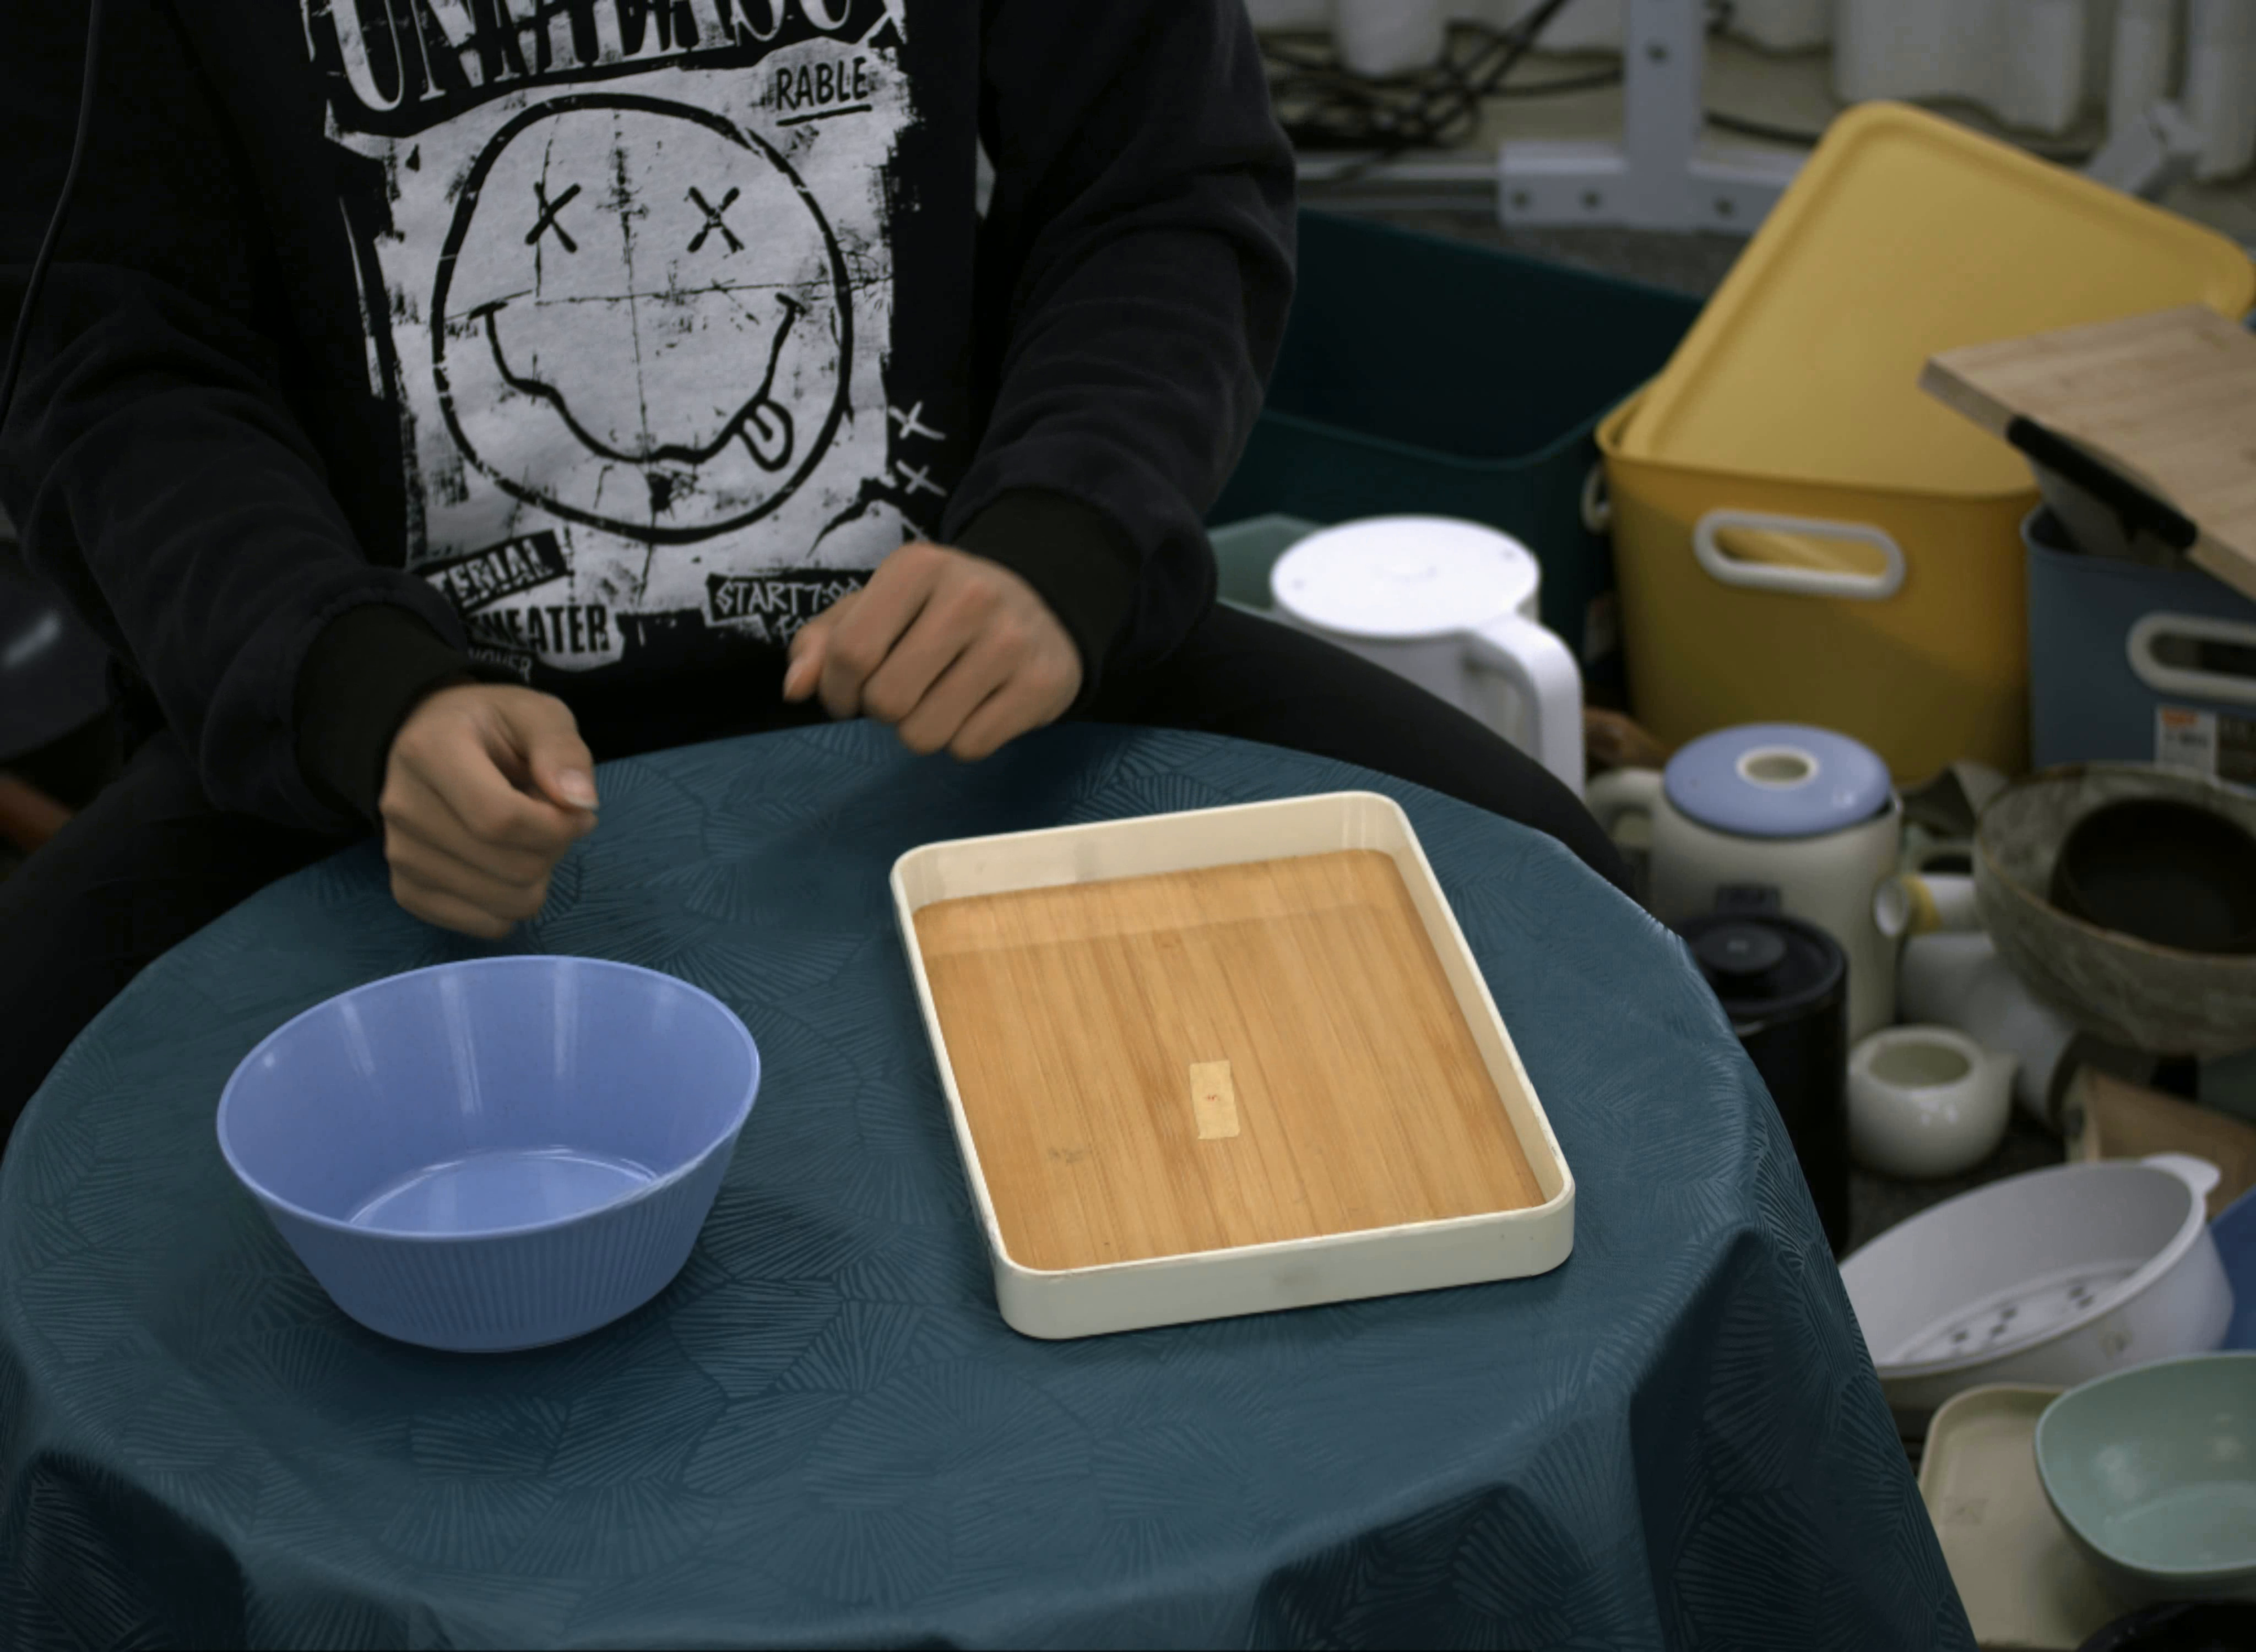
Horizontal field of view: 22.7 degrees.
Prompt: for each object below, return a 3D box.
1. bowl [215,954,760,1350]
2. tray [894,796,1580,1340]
[{"bbox_3d":[-0.205,0.112,1.822,0.175,0.069,0.179,-2,28,1],"label":"bowl"},{"bbox_3d":[0.031,0.077,1.917,0.191,0.027,0.304,-7,28,-7],"label":"tray"}]
